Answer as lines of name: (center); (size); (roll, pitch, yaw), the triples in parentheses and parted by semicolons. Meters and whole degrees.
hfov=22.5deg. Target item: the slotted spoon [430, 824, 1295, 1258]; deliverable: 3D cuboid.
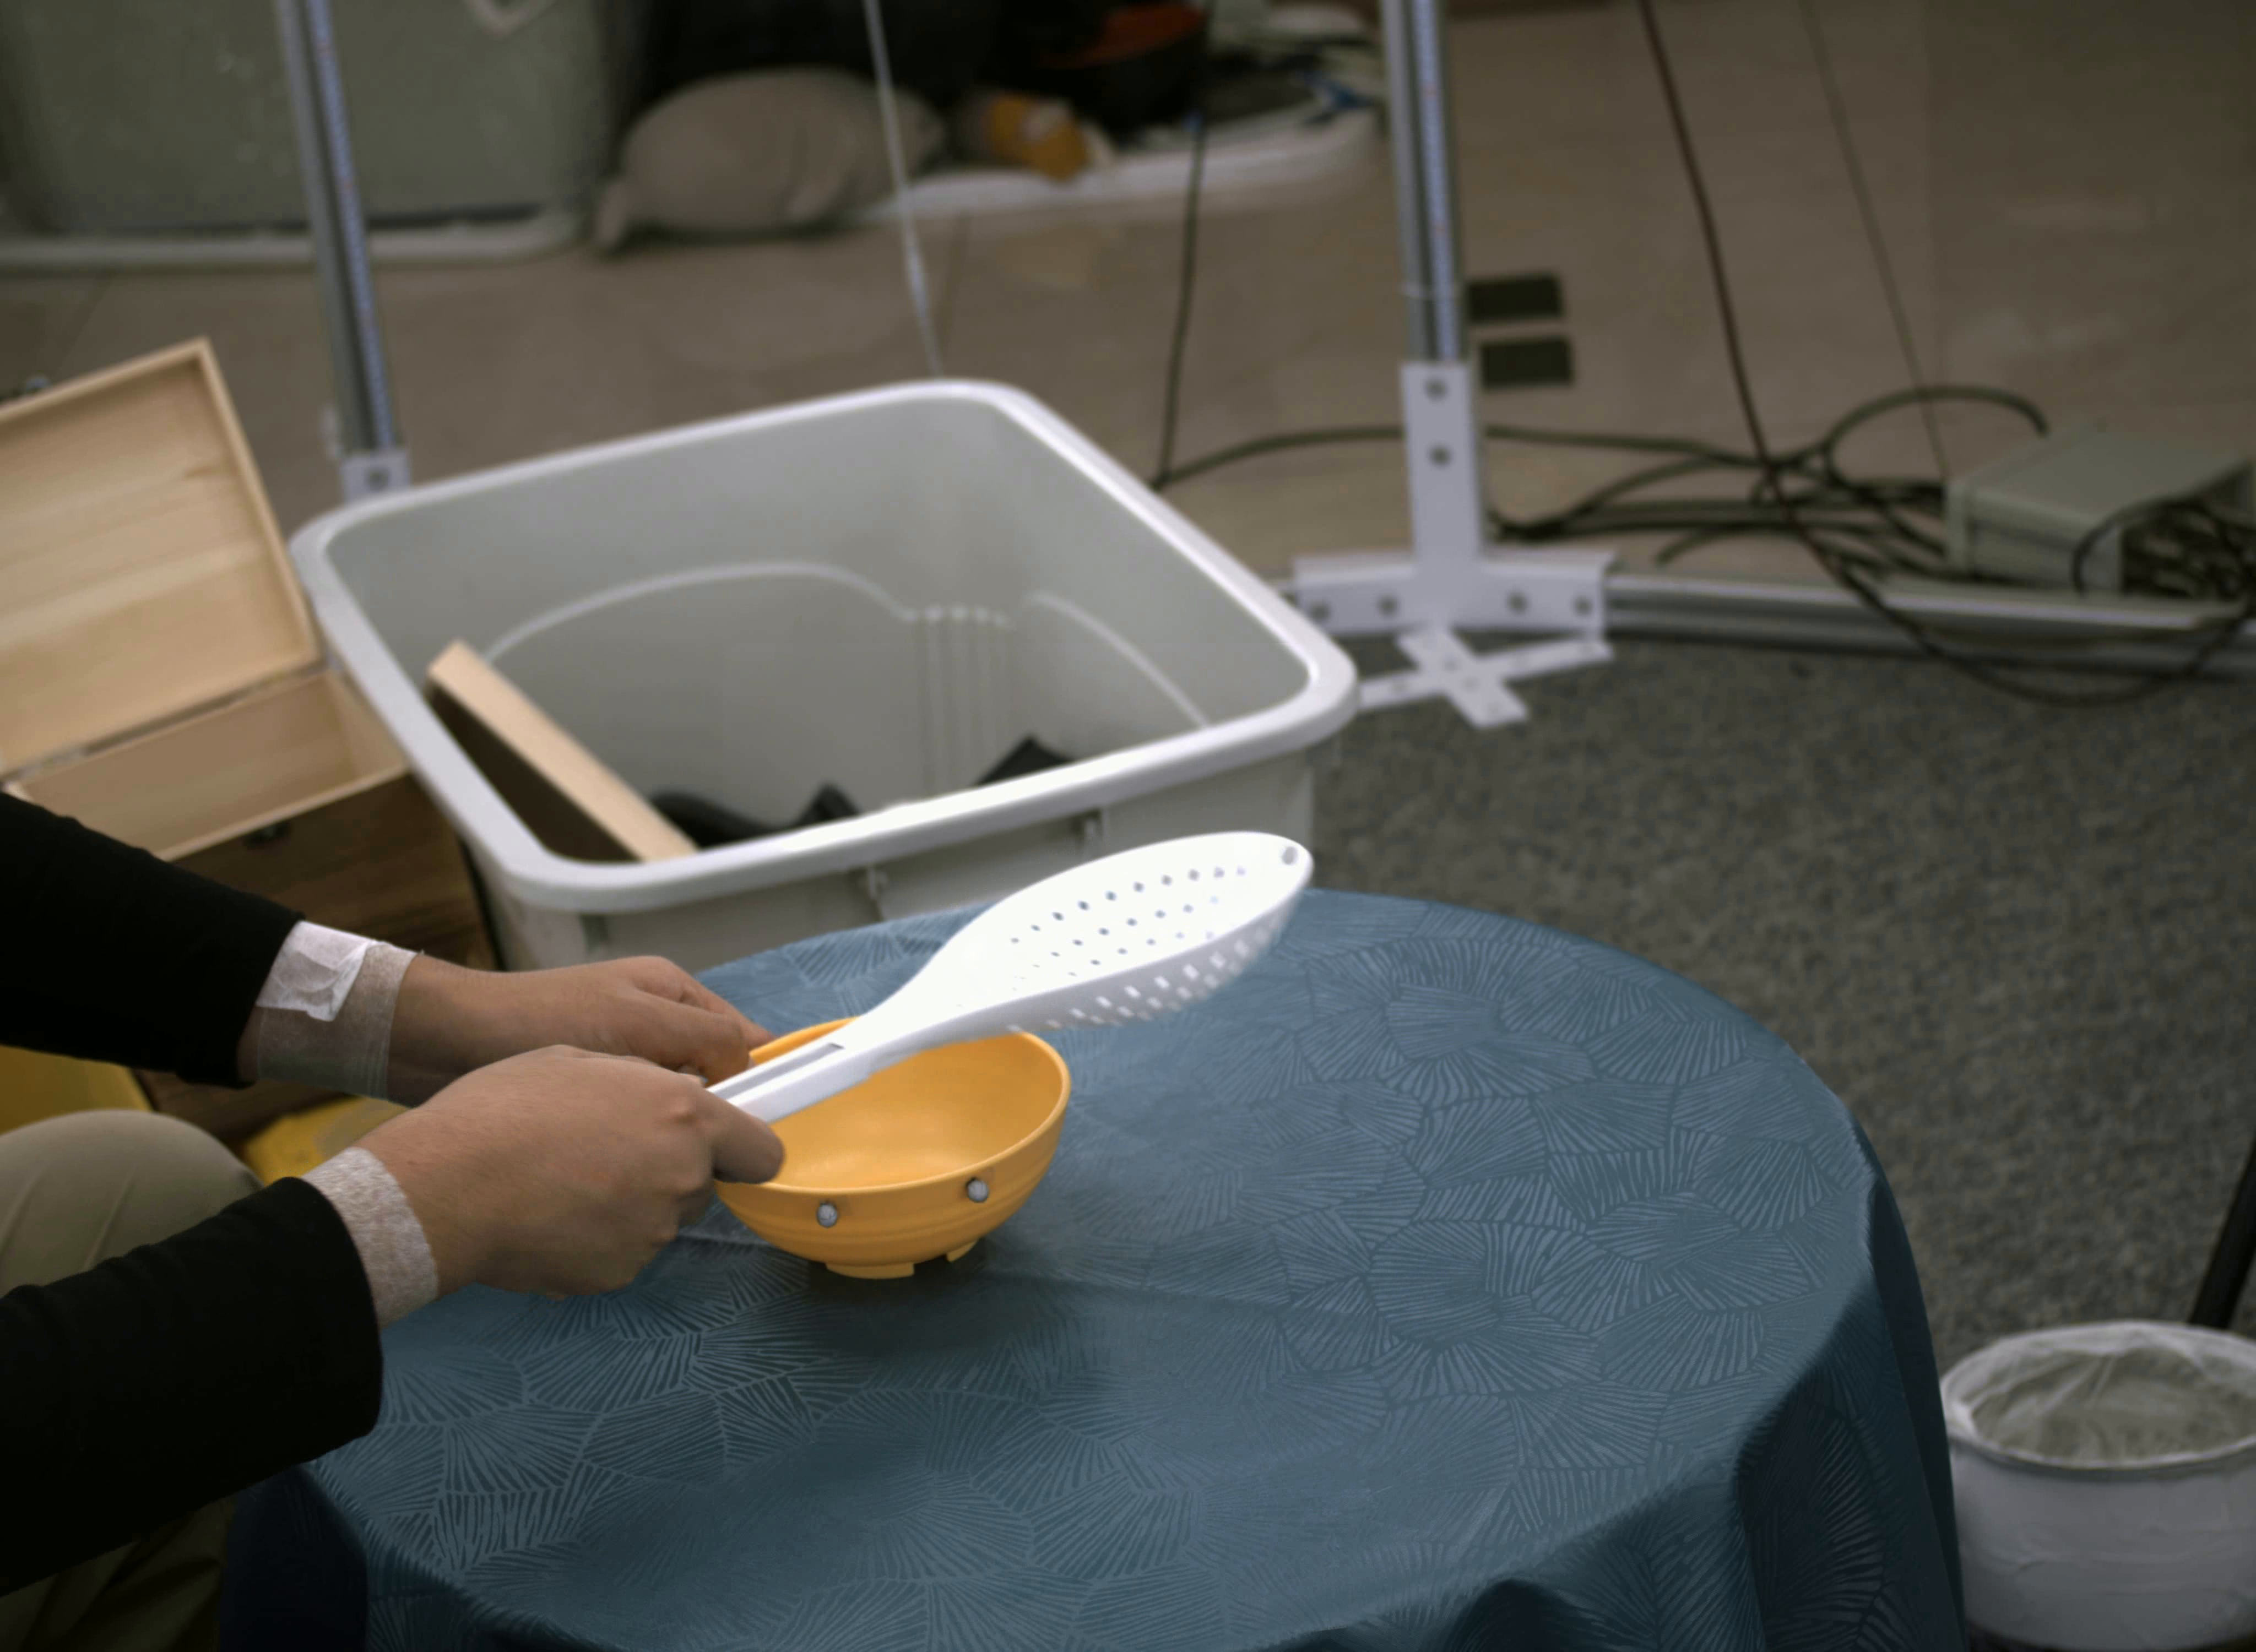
slotted spoon: (-0.091, 0.074, 2.011); (0.348, 0.046, 0.135); (-20, 15, -26)

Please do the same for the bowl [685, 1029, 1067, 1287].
bowl: (-0.092, 0.132, 2.123); (0.145, 0.061, 0.143); (-5, 23, 2)
